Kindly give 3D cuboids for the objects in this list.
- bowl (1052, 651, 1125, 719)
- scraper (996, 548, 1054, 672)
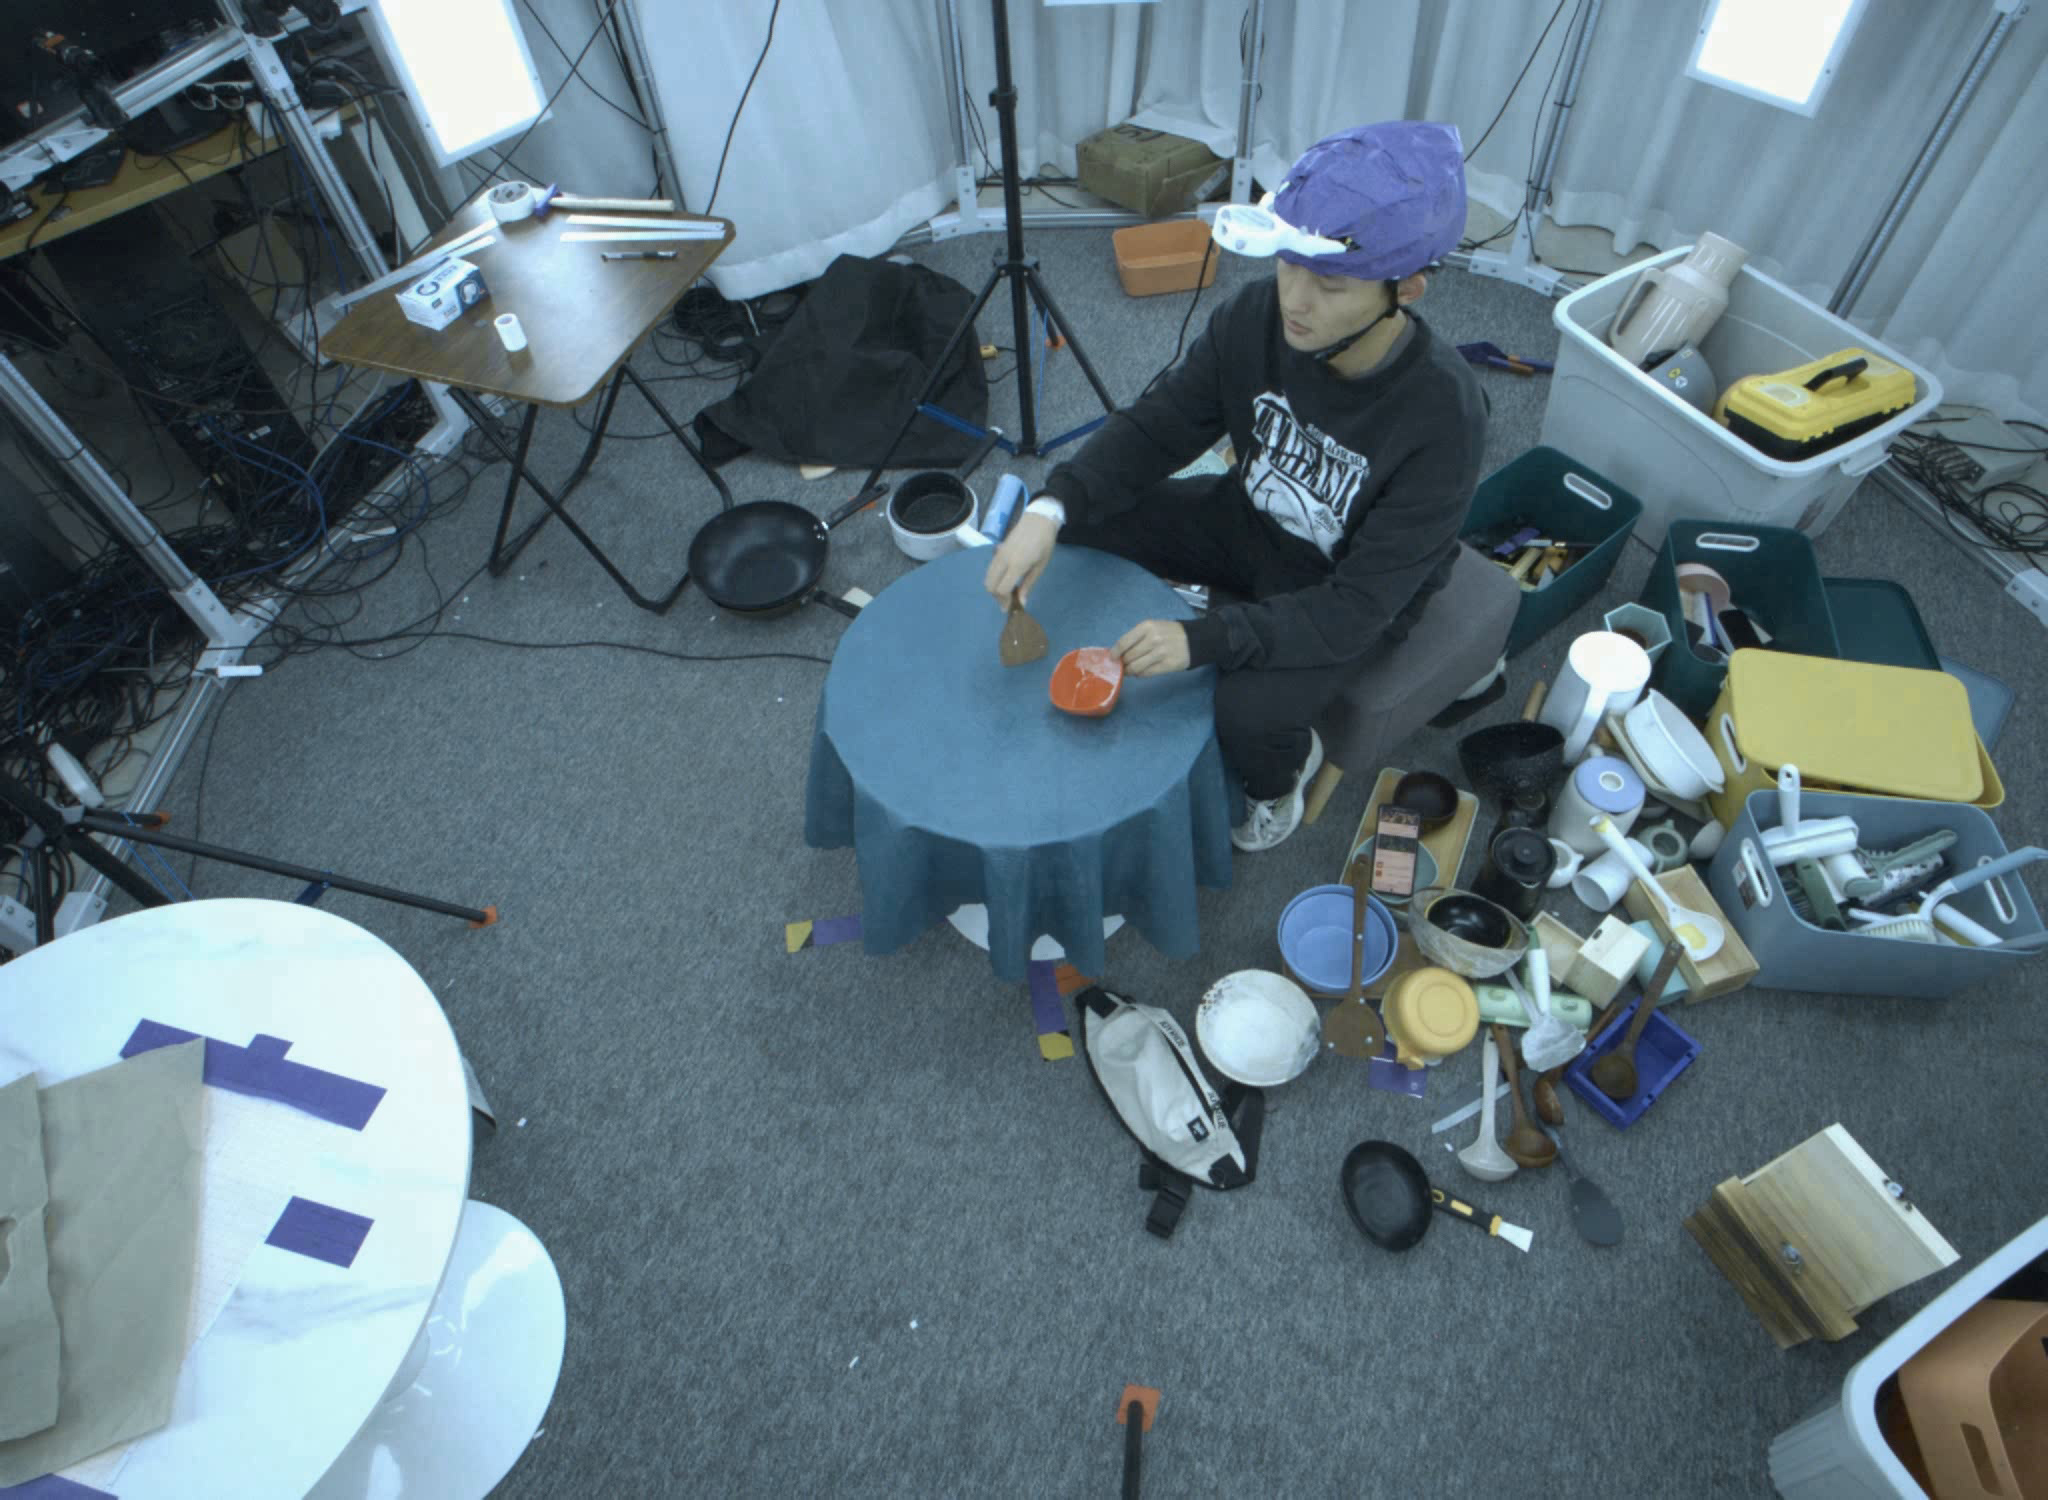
[{"bbox_3d":[0.102,-0.088,1.814,0.117,0.052,0.118,-12,55,19],"label":"bowl"},{"bbox_3d":[-0.010,-0.210,1.804,0.075,0.011,0.209,-16,66,7],"label":"scraper"}]
